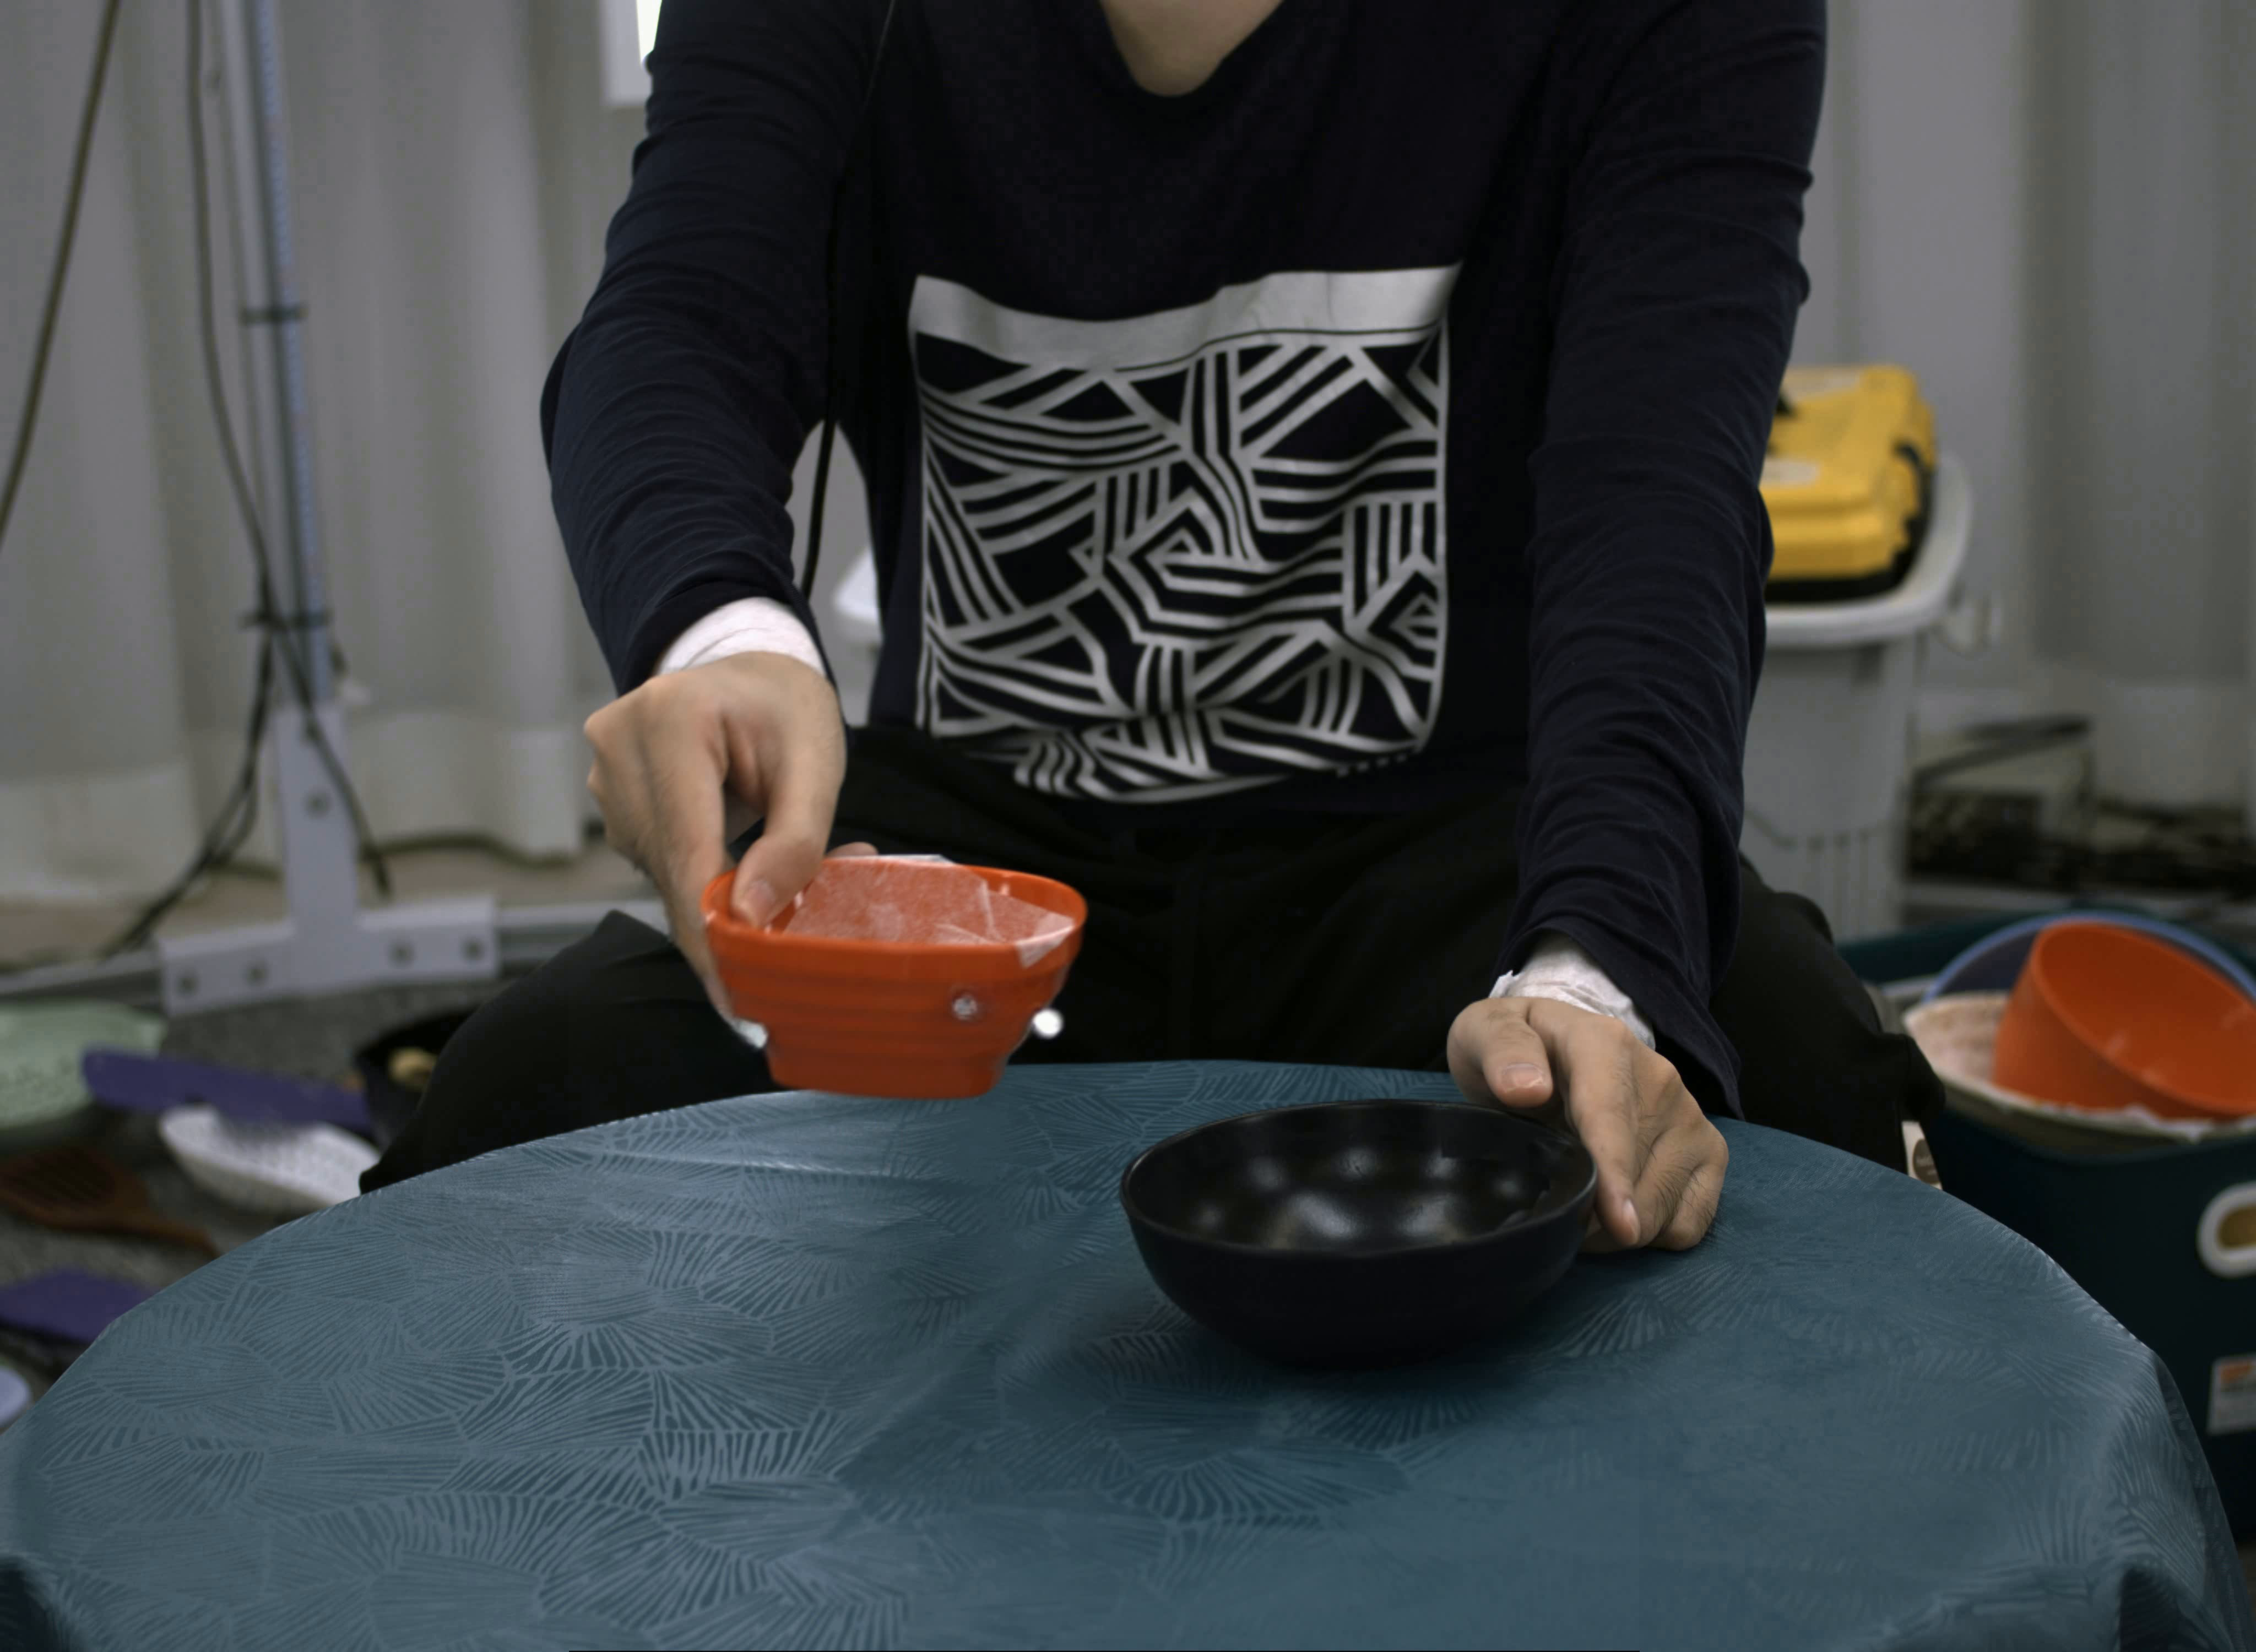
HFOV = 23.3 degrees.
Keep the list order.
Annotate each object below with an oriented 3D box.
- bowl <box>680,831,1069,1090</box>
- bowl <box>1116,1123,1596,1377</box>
[{"bbox_3d":[-0.070,0.040,1.561,0.118,0.051,0.120,-5,15,1],"label":"bowl"},{"bbox_3d":[0.067,0.126,1.579,0.139,0.049,0.140,-3,10,0],"label":"bowl"}]
